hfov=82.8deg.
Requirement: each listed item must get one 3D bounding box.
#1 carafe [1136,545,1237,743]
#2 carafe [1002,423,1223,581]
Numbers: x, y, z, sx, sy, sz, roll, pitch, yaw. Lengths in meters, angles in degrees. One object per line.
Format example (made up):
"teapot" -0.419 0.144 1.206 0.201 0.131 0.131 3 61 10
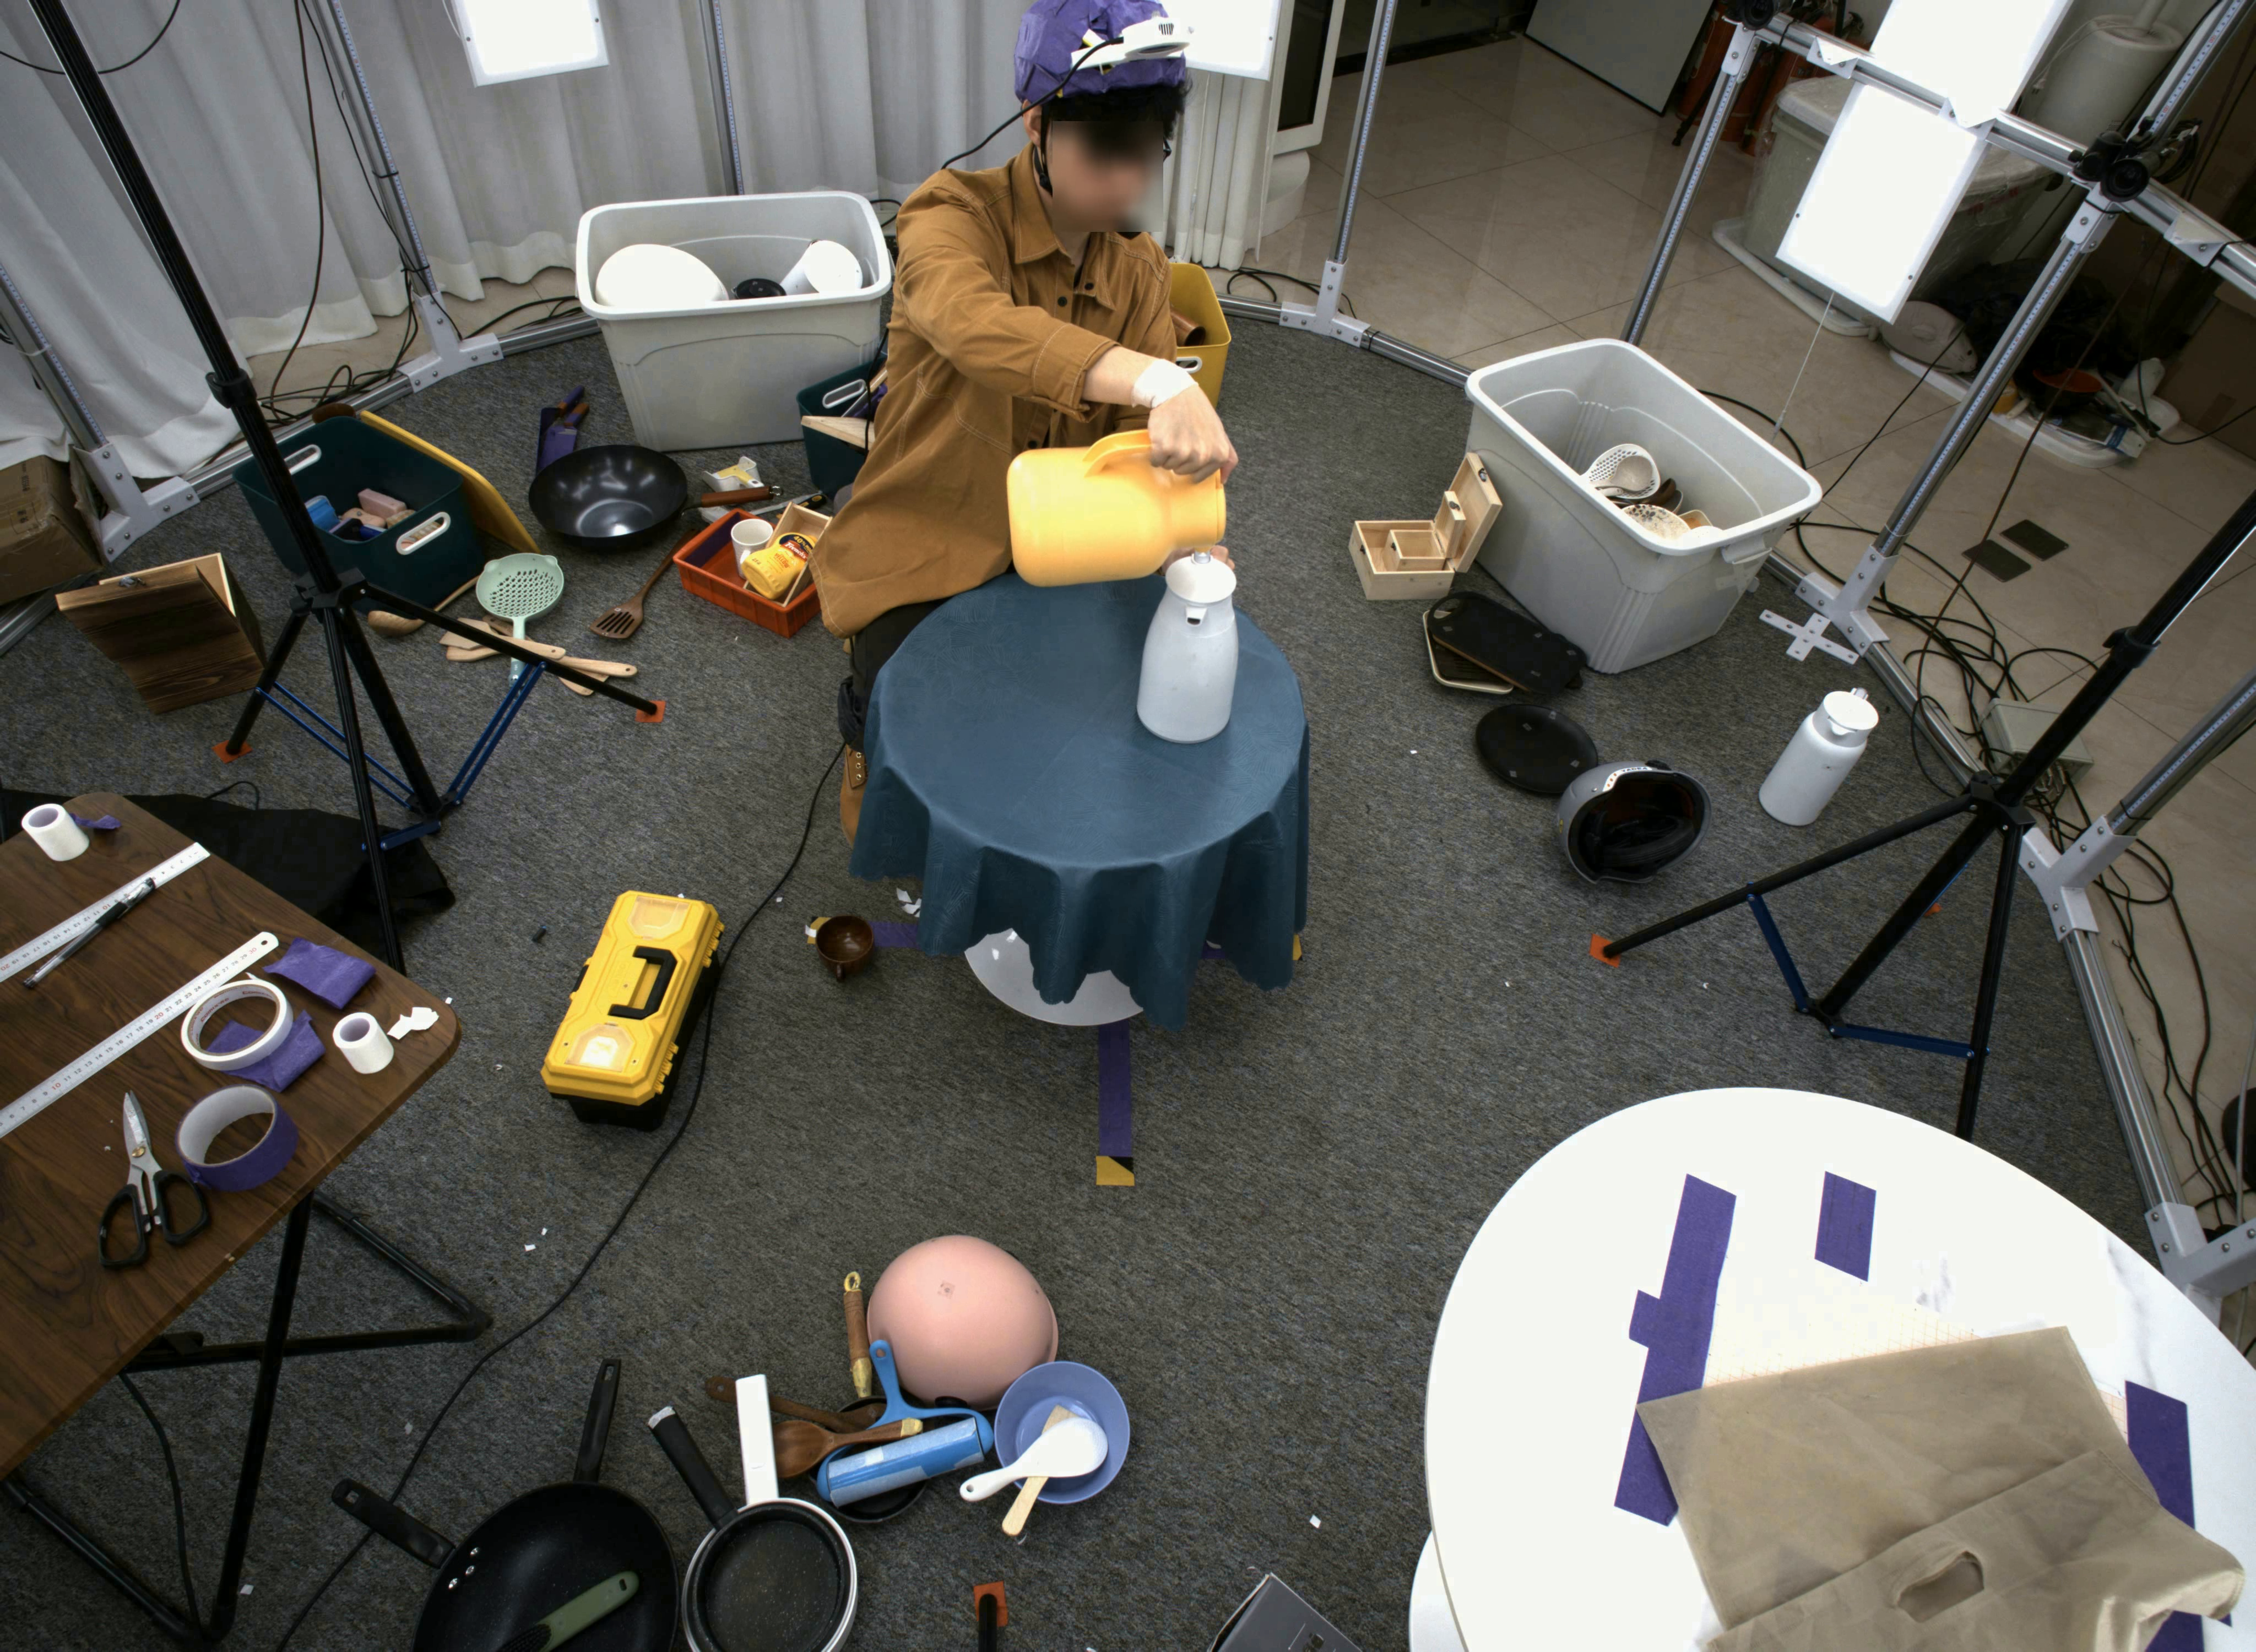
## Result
"carafe" 0.086 -0.258 1.738 0.132 0.242 0.172 8 49 3
"carafe" -0.017 -0.390 1.525 0.260 0.198 0.167 -4 57 -5
